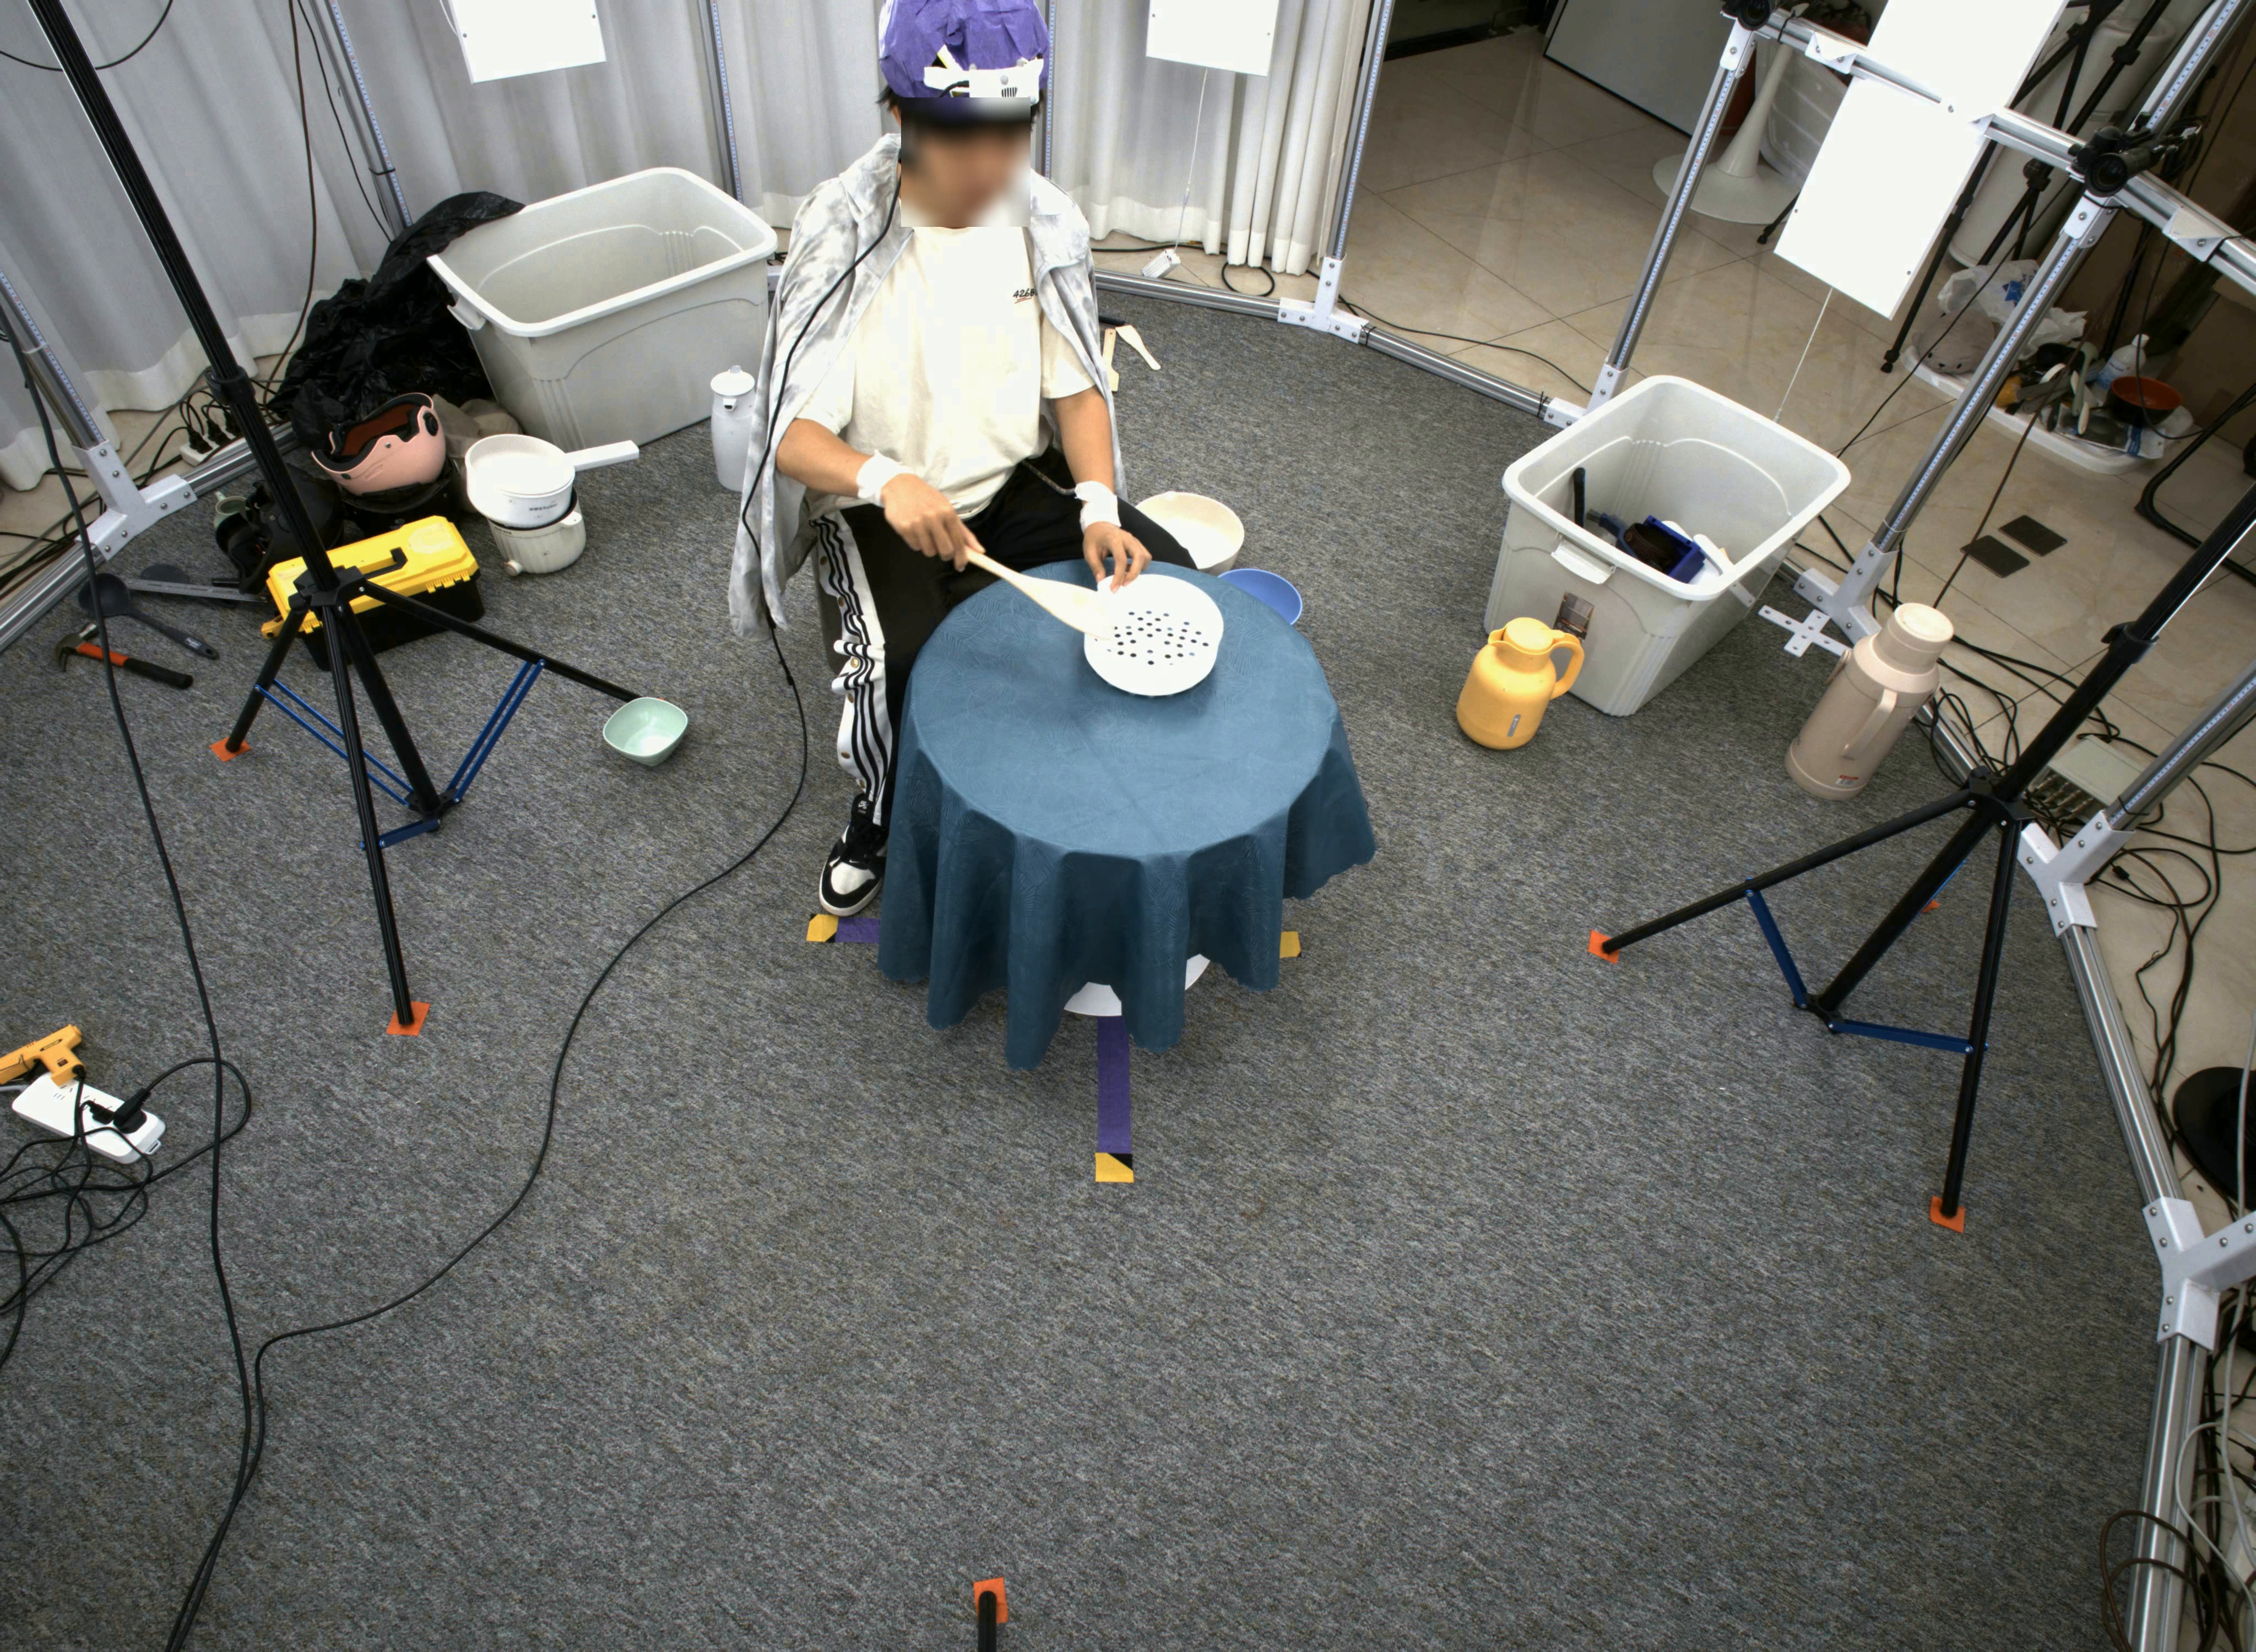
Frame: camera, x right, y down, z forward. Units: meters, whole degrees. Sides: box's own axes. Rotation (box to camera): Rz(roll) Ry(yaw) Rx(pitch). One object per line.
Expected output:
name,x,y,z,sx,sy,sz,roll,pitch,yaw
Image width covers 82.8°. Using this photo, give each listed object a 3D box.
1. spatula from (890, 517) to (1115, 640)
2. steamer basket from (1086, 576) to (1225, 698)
spatula,-0.161,-0.338,1.719,0.325,0.016,0.082,22,52,-17
steamer basket,0.037,-0.271,1.857,0.202,0.067,0.235,-21,52,-22
